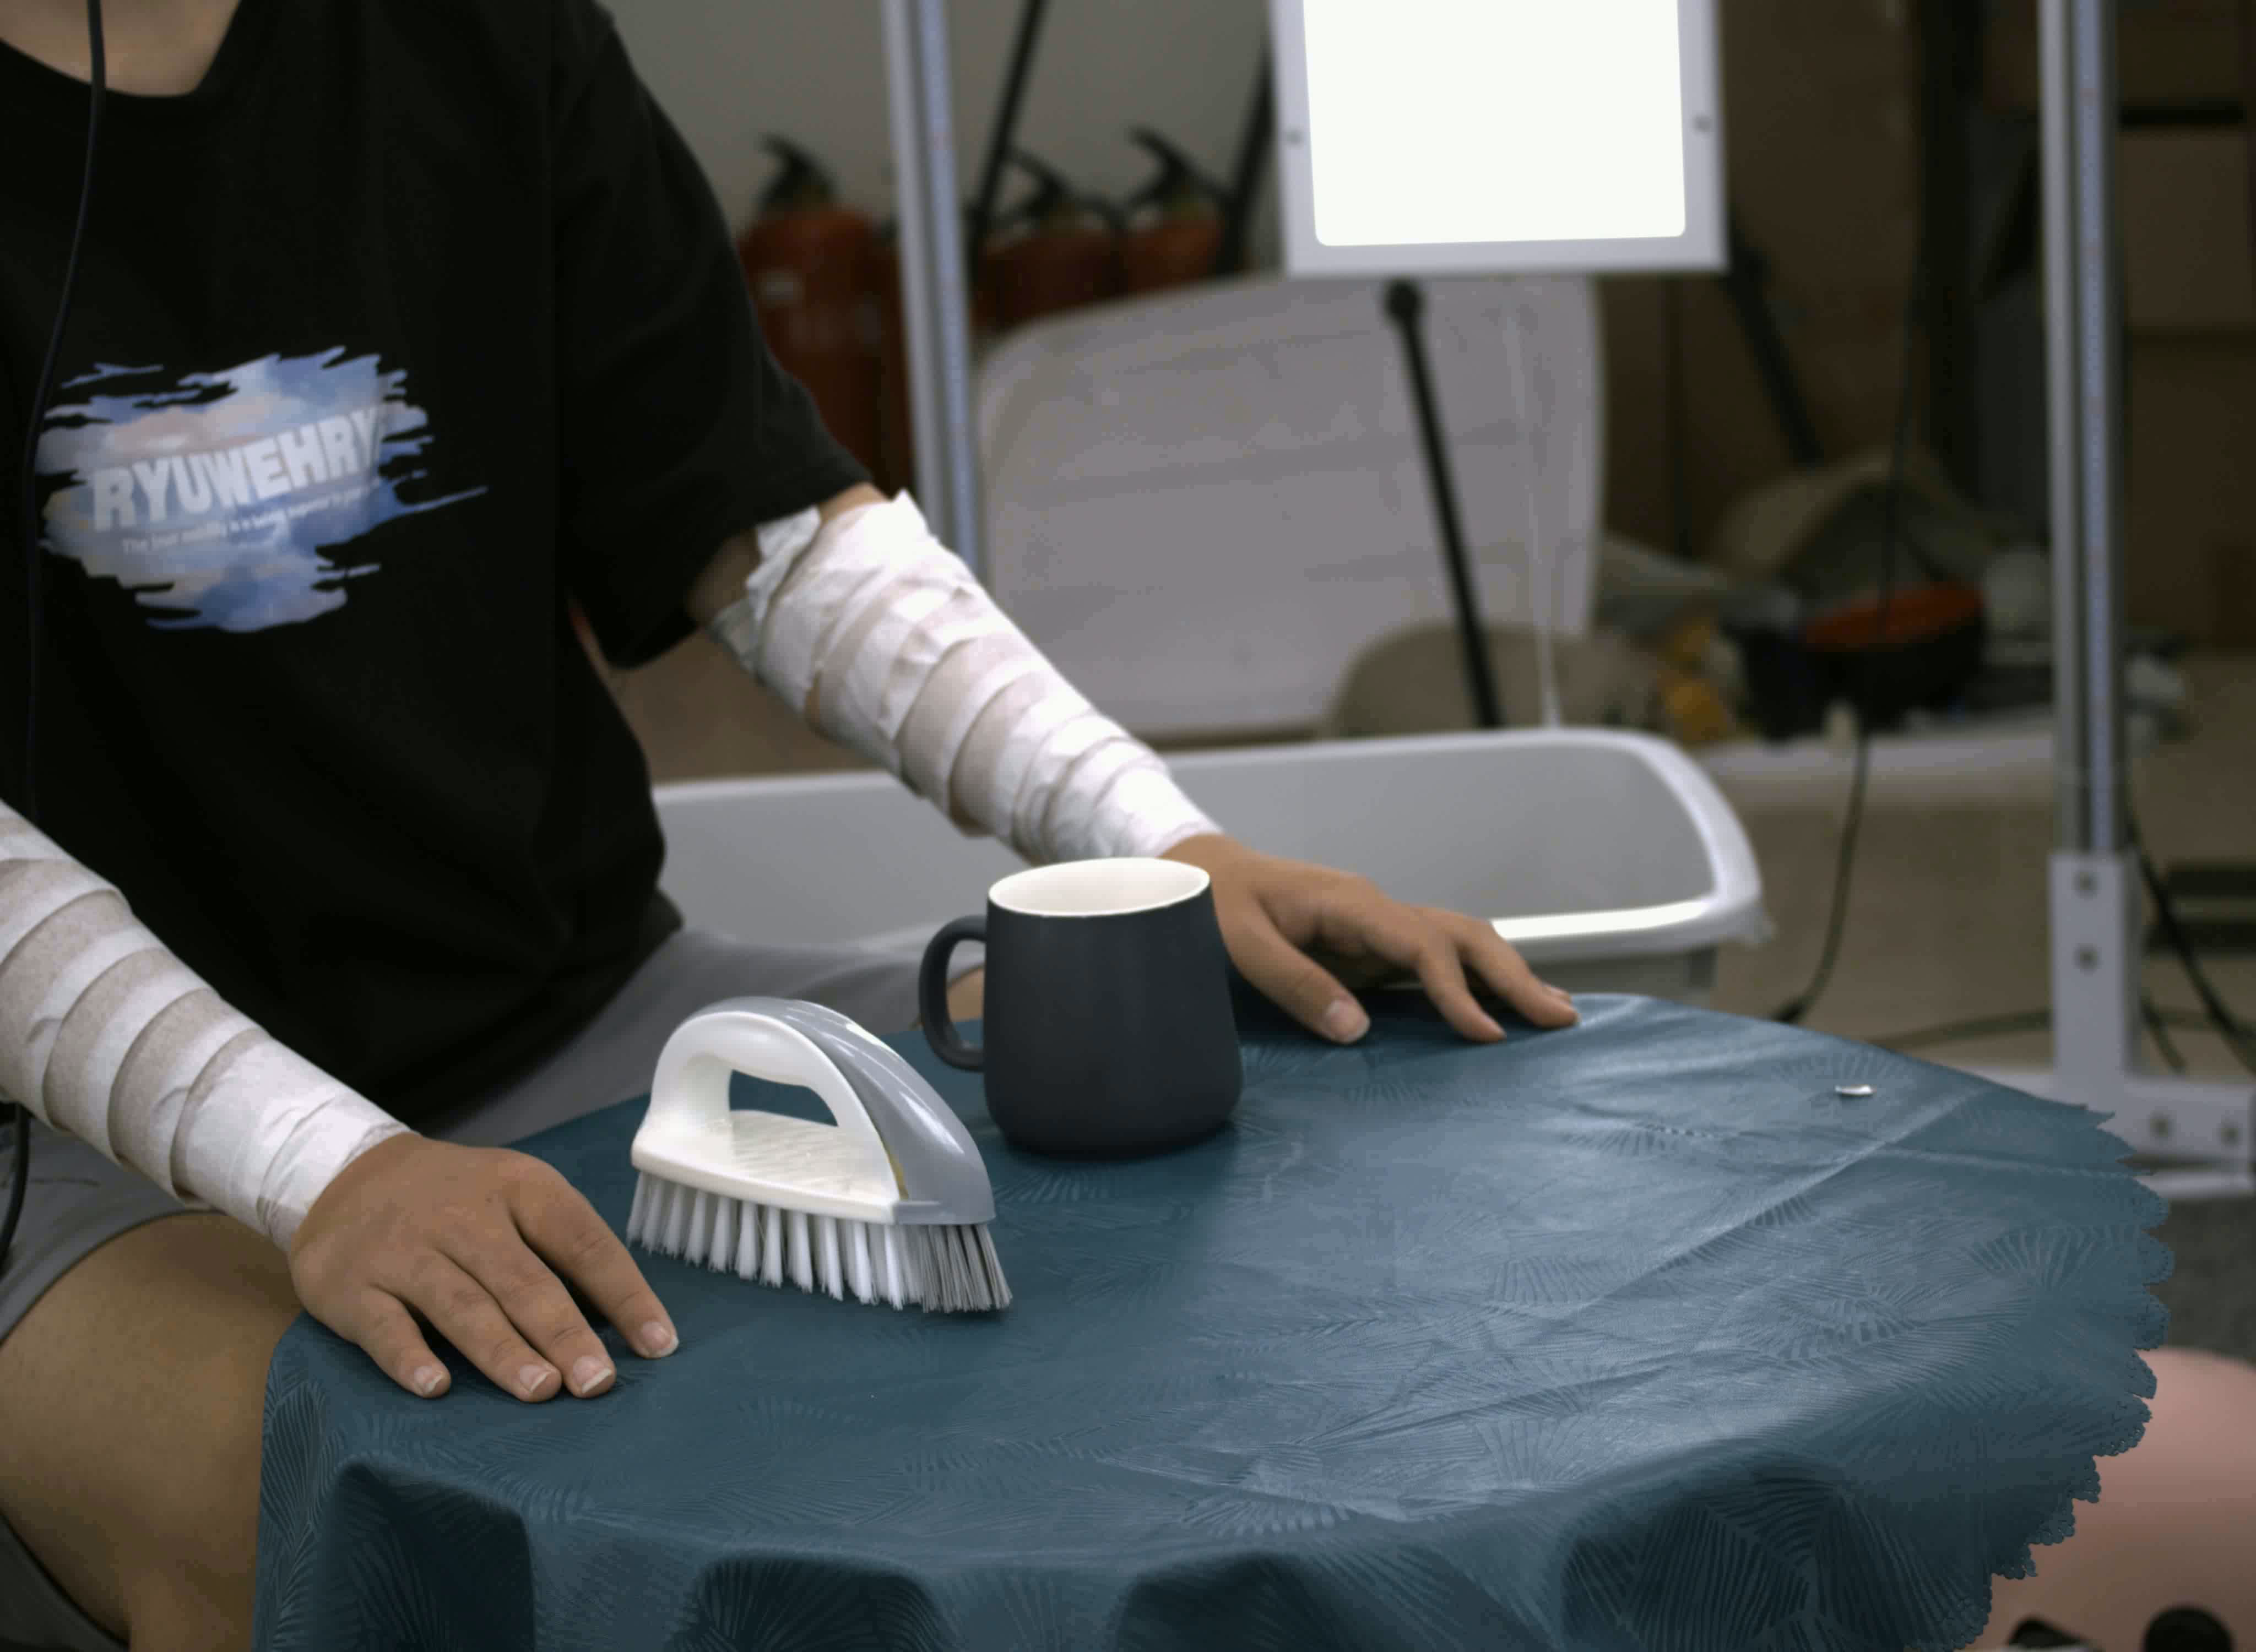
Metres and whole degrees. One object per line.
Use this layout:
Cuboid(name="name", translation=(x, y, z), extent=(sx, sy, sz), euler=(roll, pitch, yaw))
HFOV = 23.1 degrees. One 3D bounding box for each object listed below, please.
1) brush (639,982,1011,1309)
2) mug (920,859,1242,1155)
Cuboid(name="brush", translation=(-0.099, 0.103, 1.838), extent=(0.060, 0.094, 0.179), euler=(-17, 20, -36))
Cuboid(name="mug", translation=(-0.020, 0.063, 1.973), extent=(0.125, 0.090, 0.091), euler=(4, 16, 32))
